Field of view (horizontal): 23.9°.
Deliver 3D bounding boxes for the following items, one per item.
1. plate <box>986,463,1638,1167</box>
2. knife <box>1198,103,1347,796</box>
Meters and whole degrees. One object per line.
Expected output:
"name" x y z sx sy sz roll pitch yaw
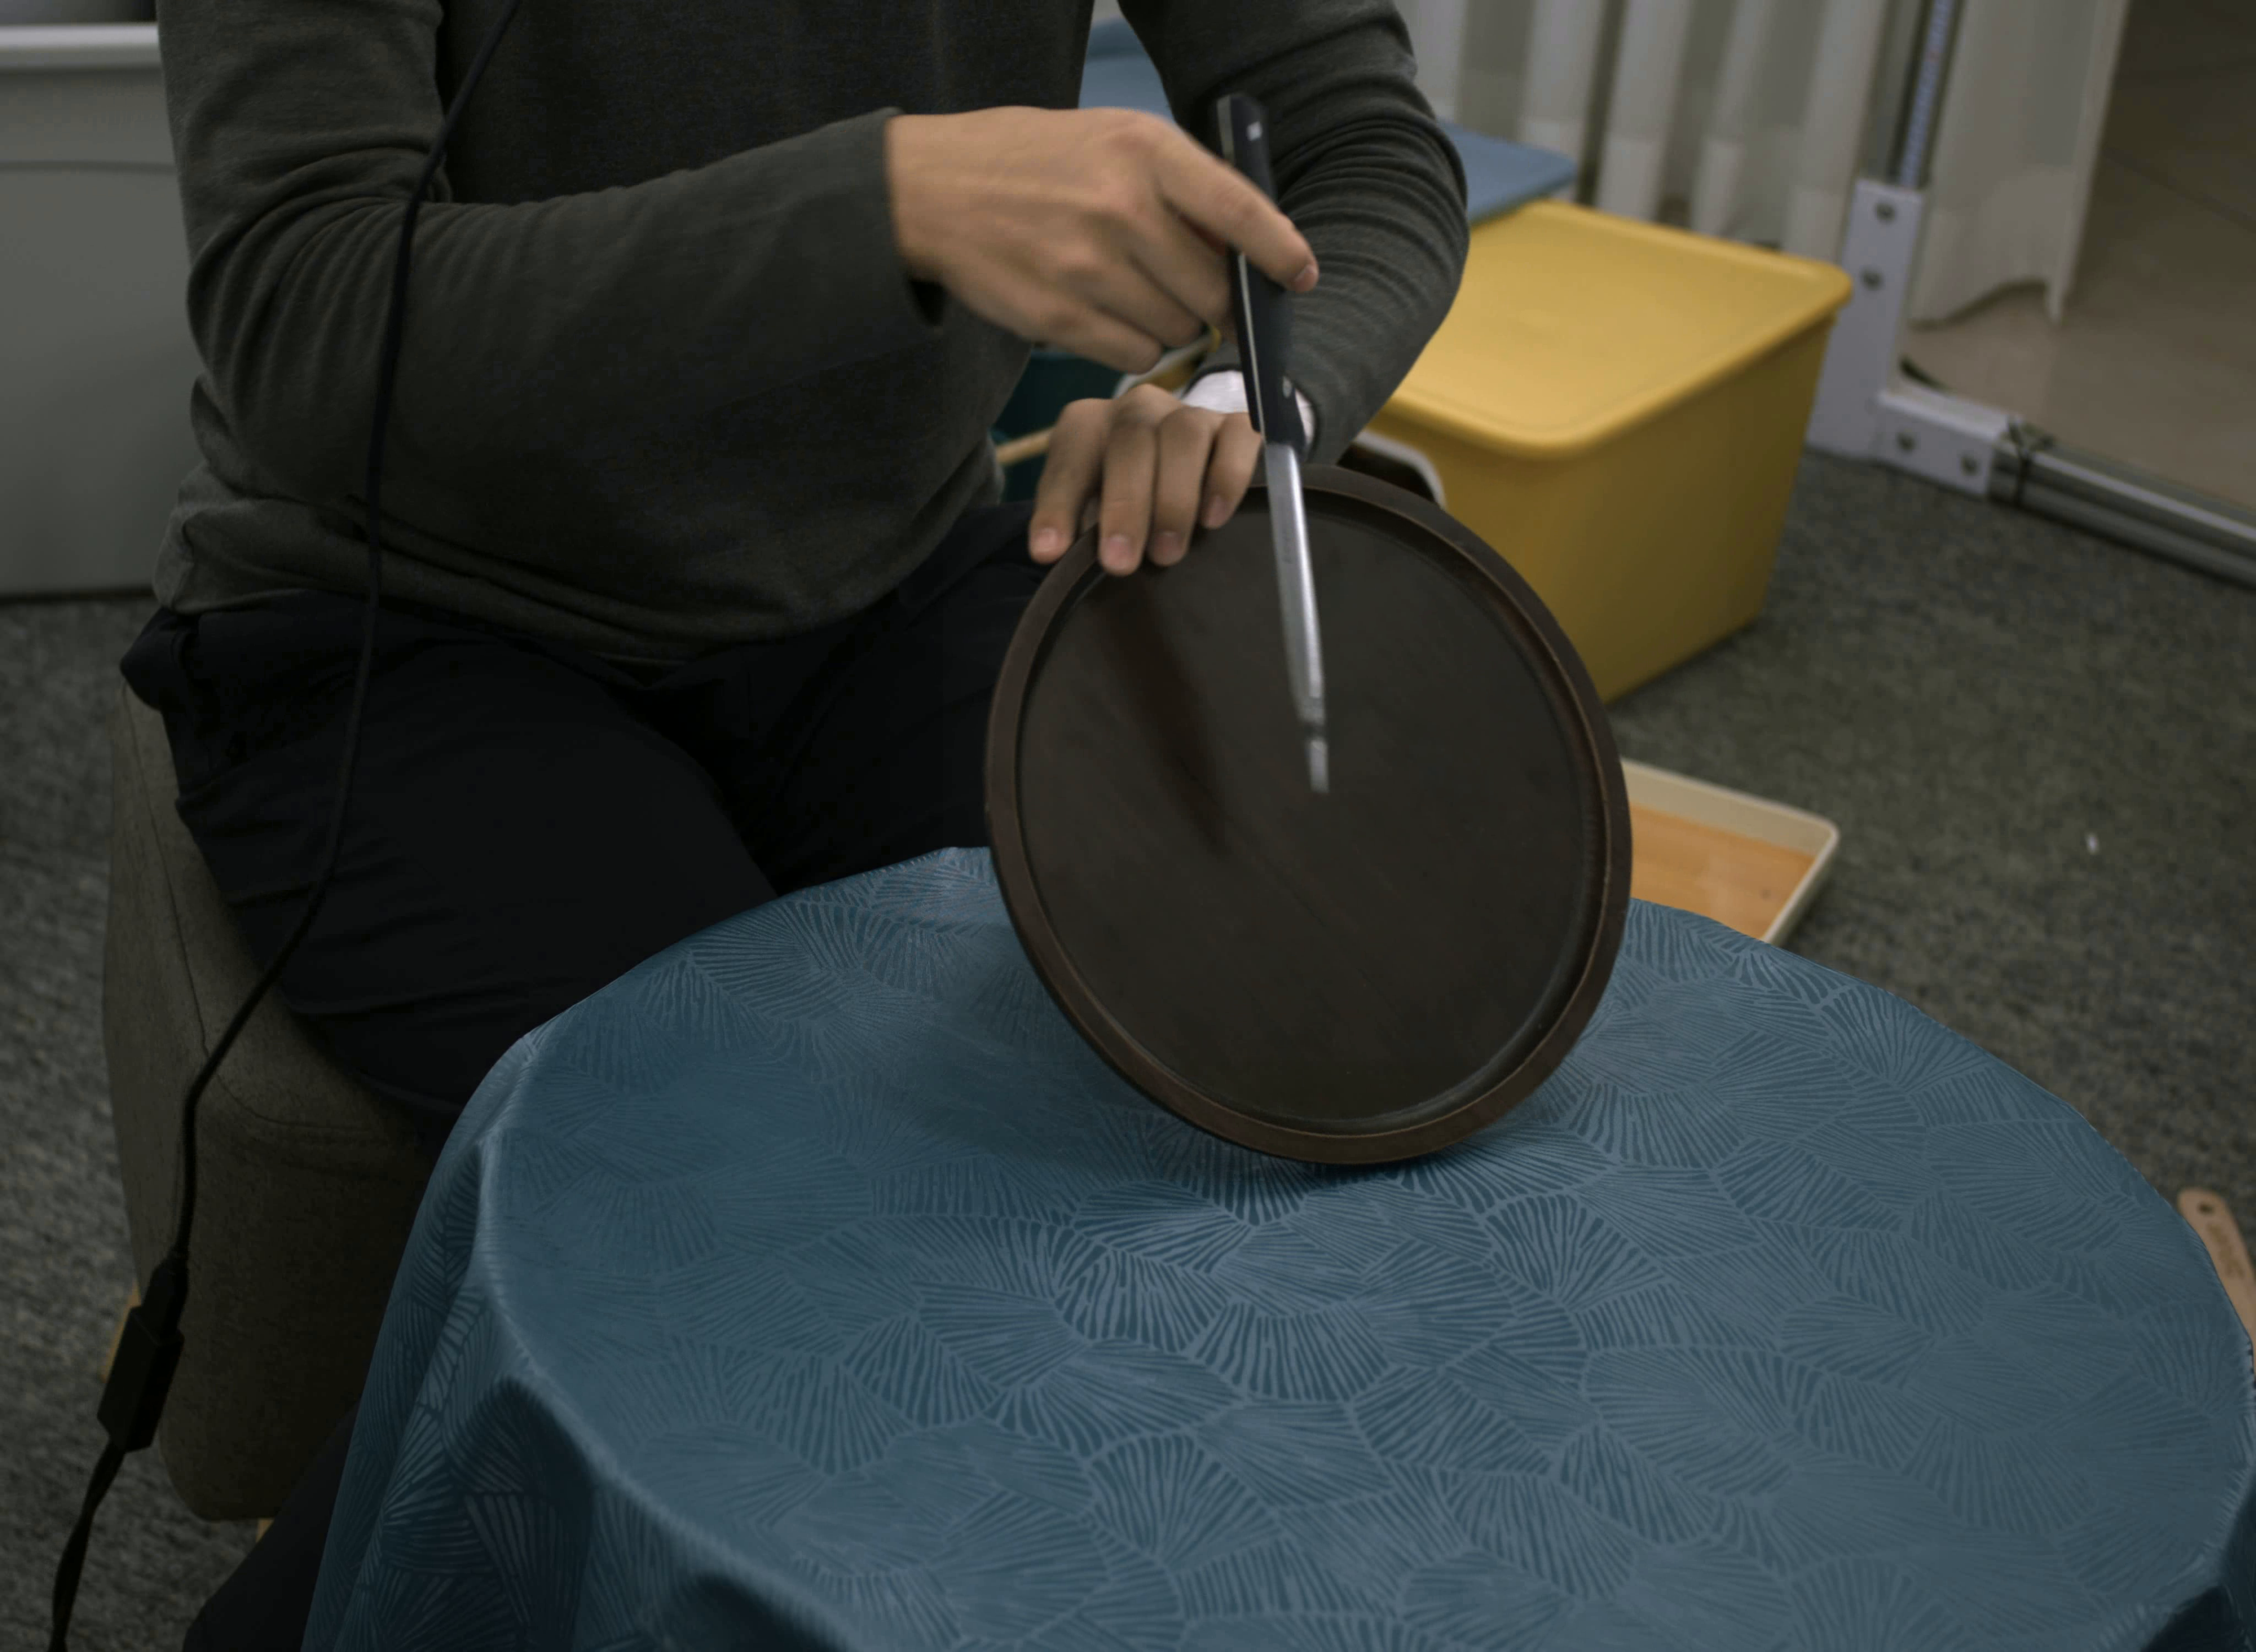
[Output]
"plate" 0.064 -0.004 1.863 0.253 0.256 0.029 -8 -10 -28
"knife" 0.051 -0.127 1.807 0.016 0.238 0.024 -7 5 38
